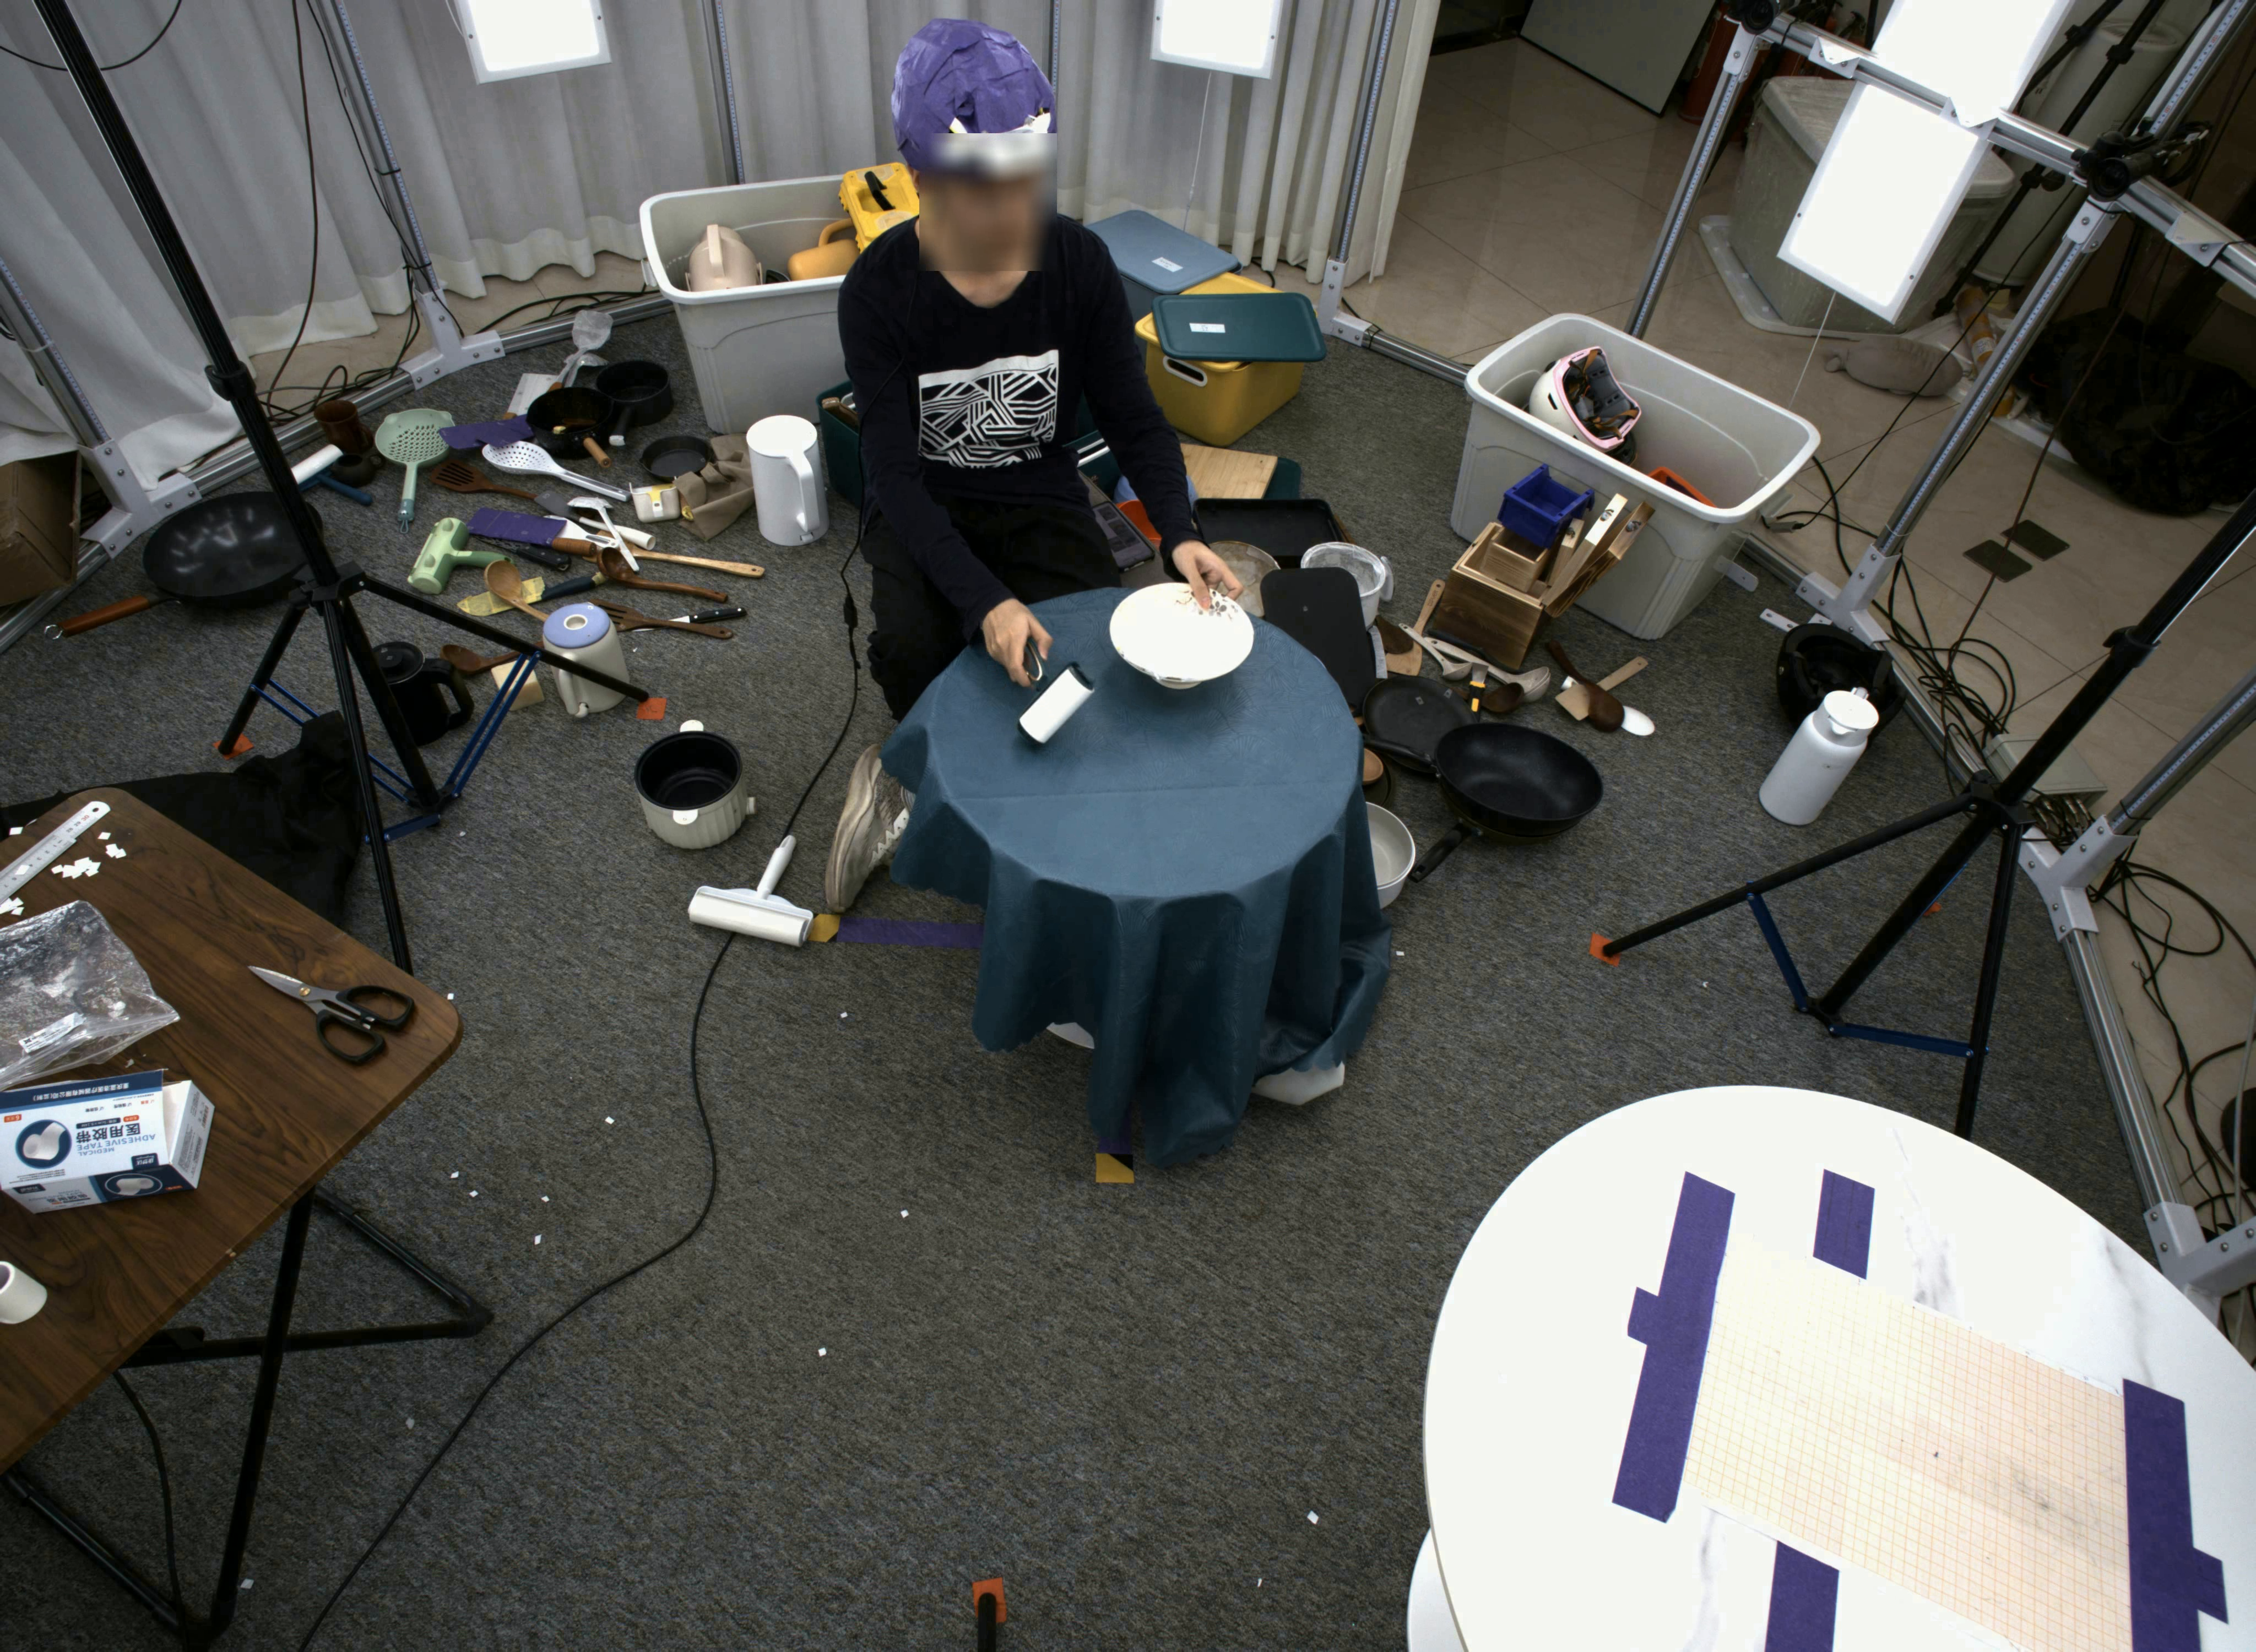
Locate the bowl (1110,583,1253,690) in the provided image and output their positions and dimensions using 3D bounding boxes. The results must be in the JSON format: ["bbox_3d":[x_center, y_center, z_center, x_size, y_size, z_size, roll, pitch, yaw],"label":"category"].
[{"bbox_3d":[0.073,-0.254,1.841,0.204,0.076,0.209,2,49,-2],"label":"bowl"}]

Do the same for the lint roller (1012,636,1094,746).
[{"bbox_3d":[-0.128,-0.209,1.766,0.133,0.047,0.184,-44,55,15],"label":"lint roller"}]
